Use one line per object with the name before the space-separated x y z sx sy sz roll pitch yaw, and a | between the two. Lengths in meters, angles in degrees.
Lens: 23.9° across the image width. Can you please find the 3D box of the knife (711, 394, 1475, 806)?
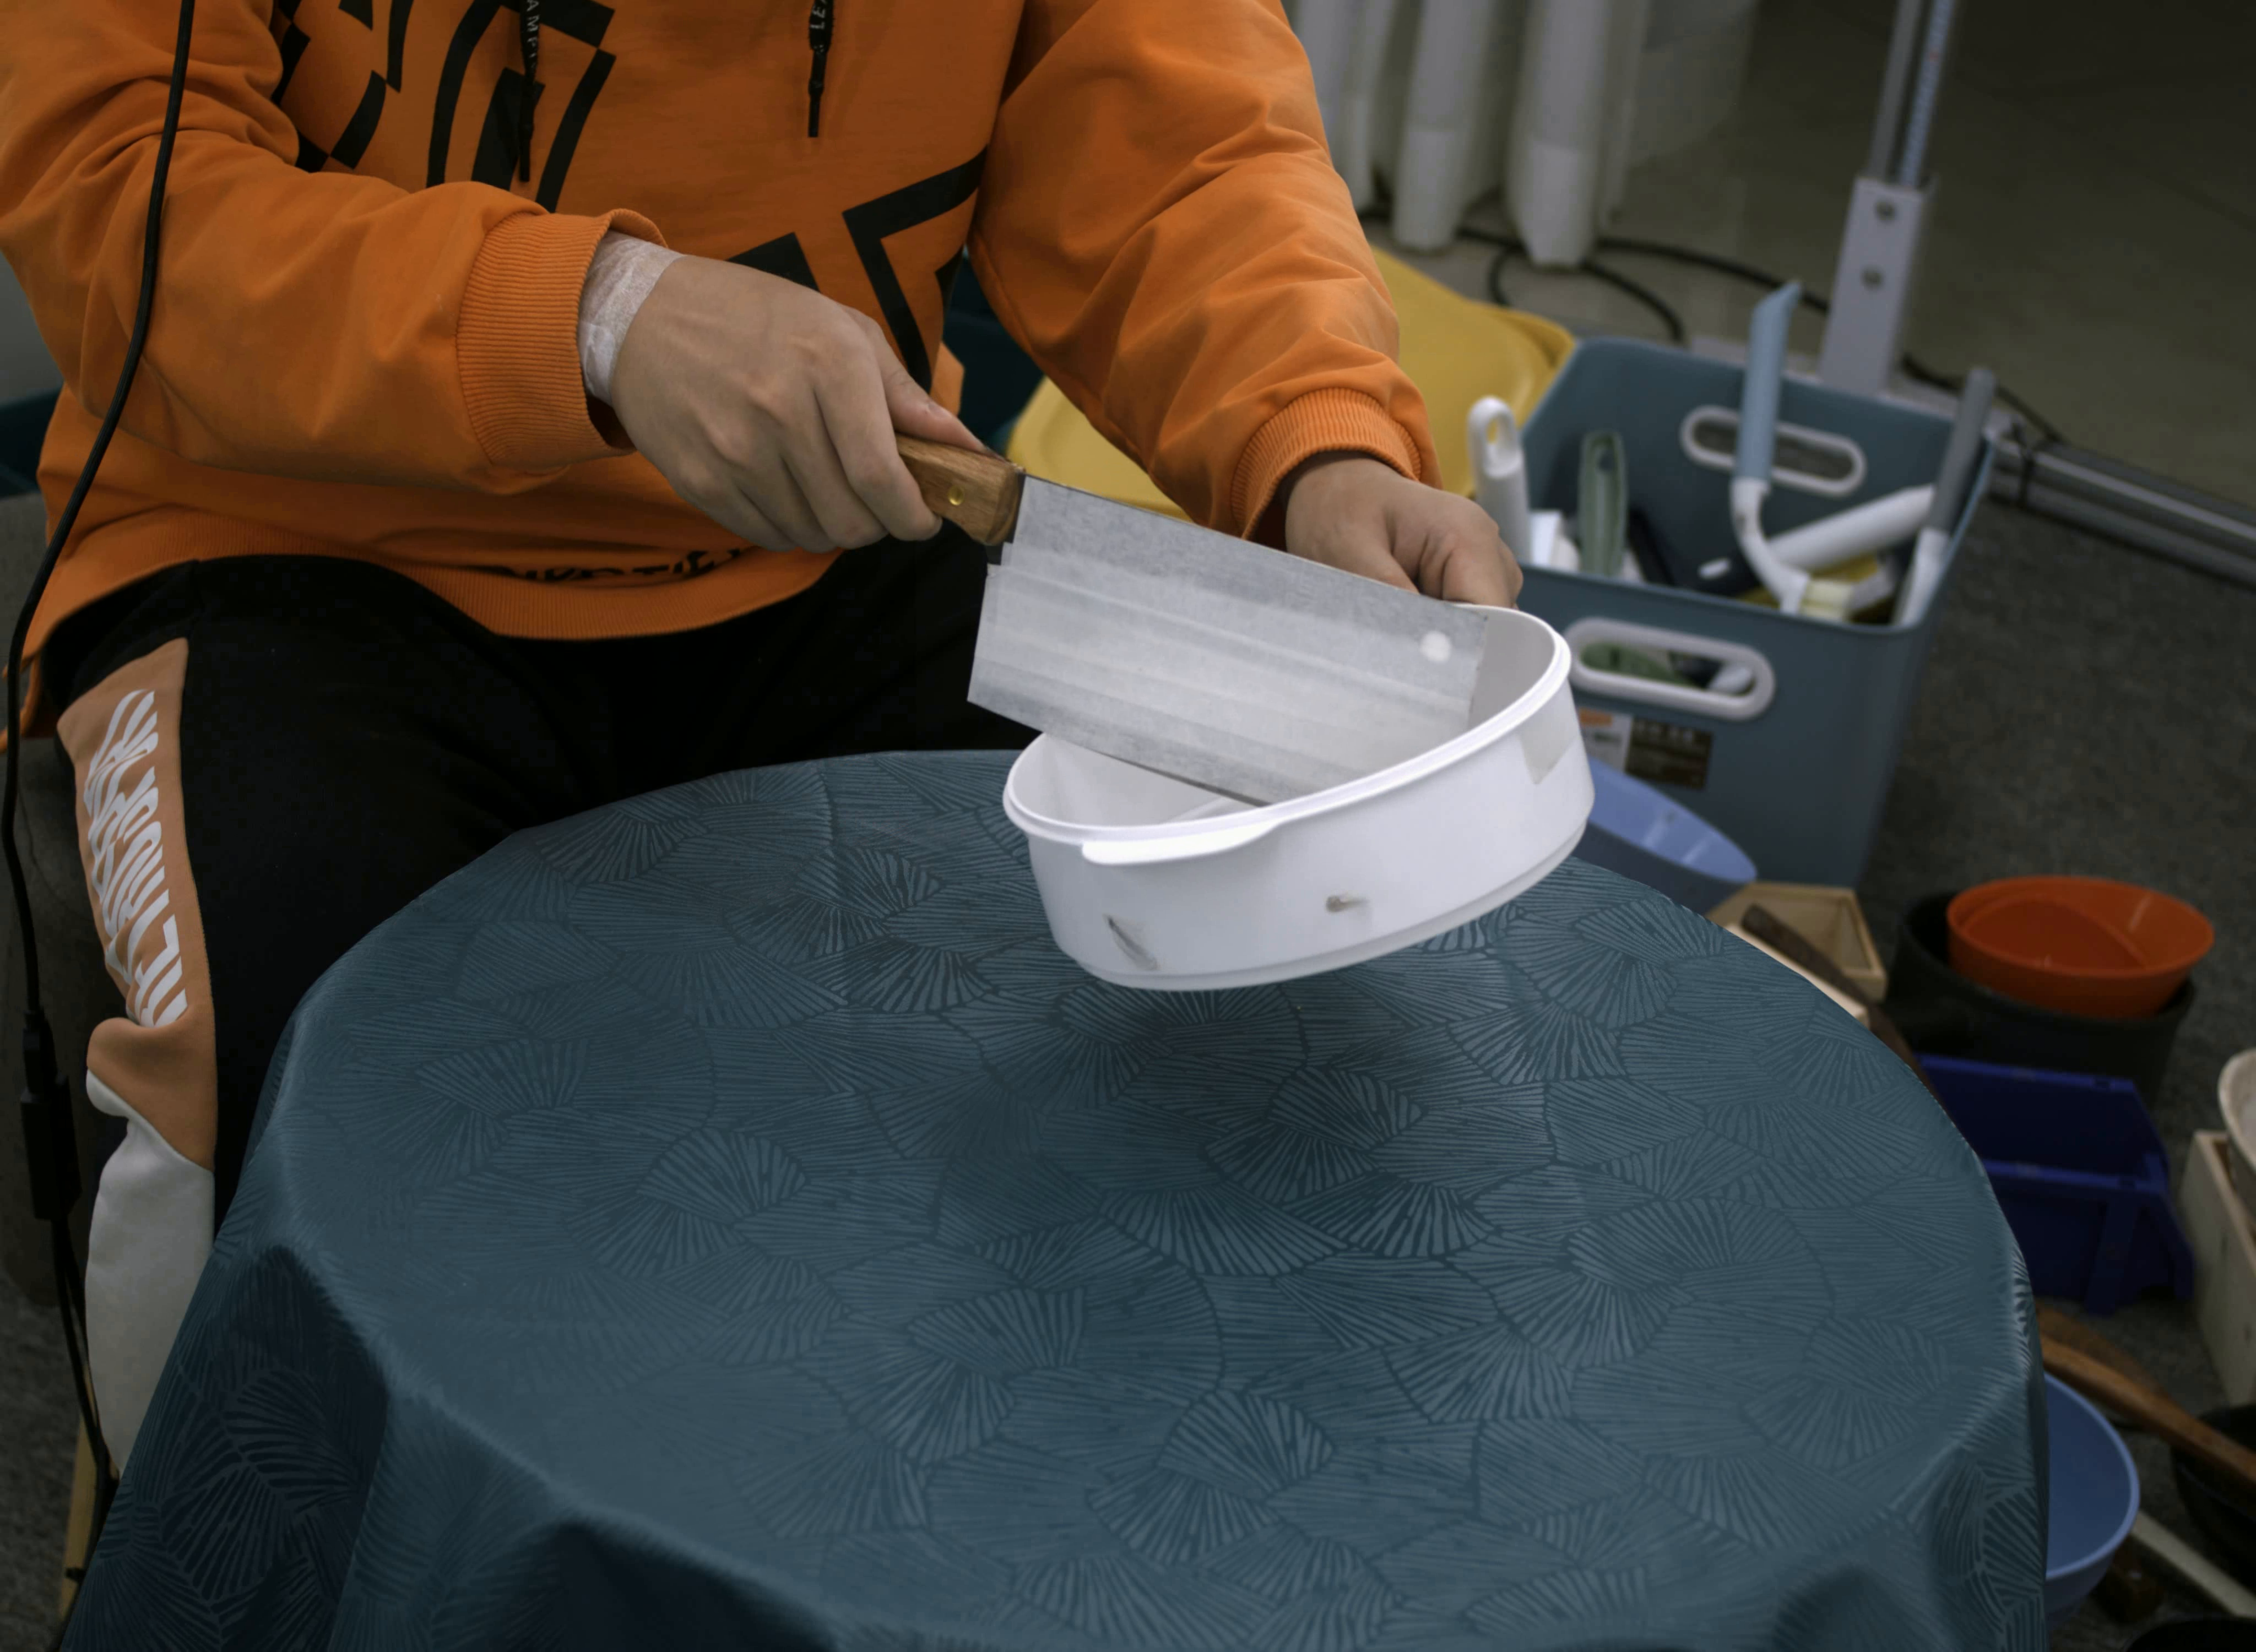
knife | -0.018 -0.076 1.847 0.307 0.093 0.021 18 23 25

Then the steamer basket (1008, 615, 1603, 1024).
steamer basket | 0.063 -0.001 1.819 0.202 0.069 0.231 -5 23 26
